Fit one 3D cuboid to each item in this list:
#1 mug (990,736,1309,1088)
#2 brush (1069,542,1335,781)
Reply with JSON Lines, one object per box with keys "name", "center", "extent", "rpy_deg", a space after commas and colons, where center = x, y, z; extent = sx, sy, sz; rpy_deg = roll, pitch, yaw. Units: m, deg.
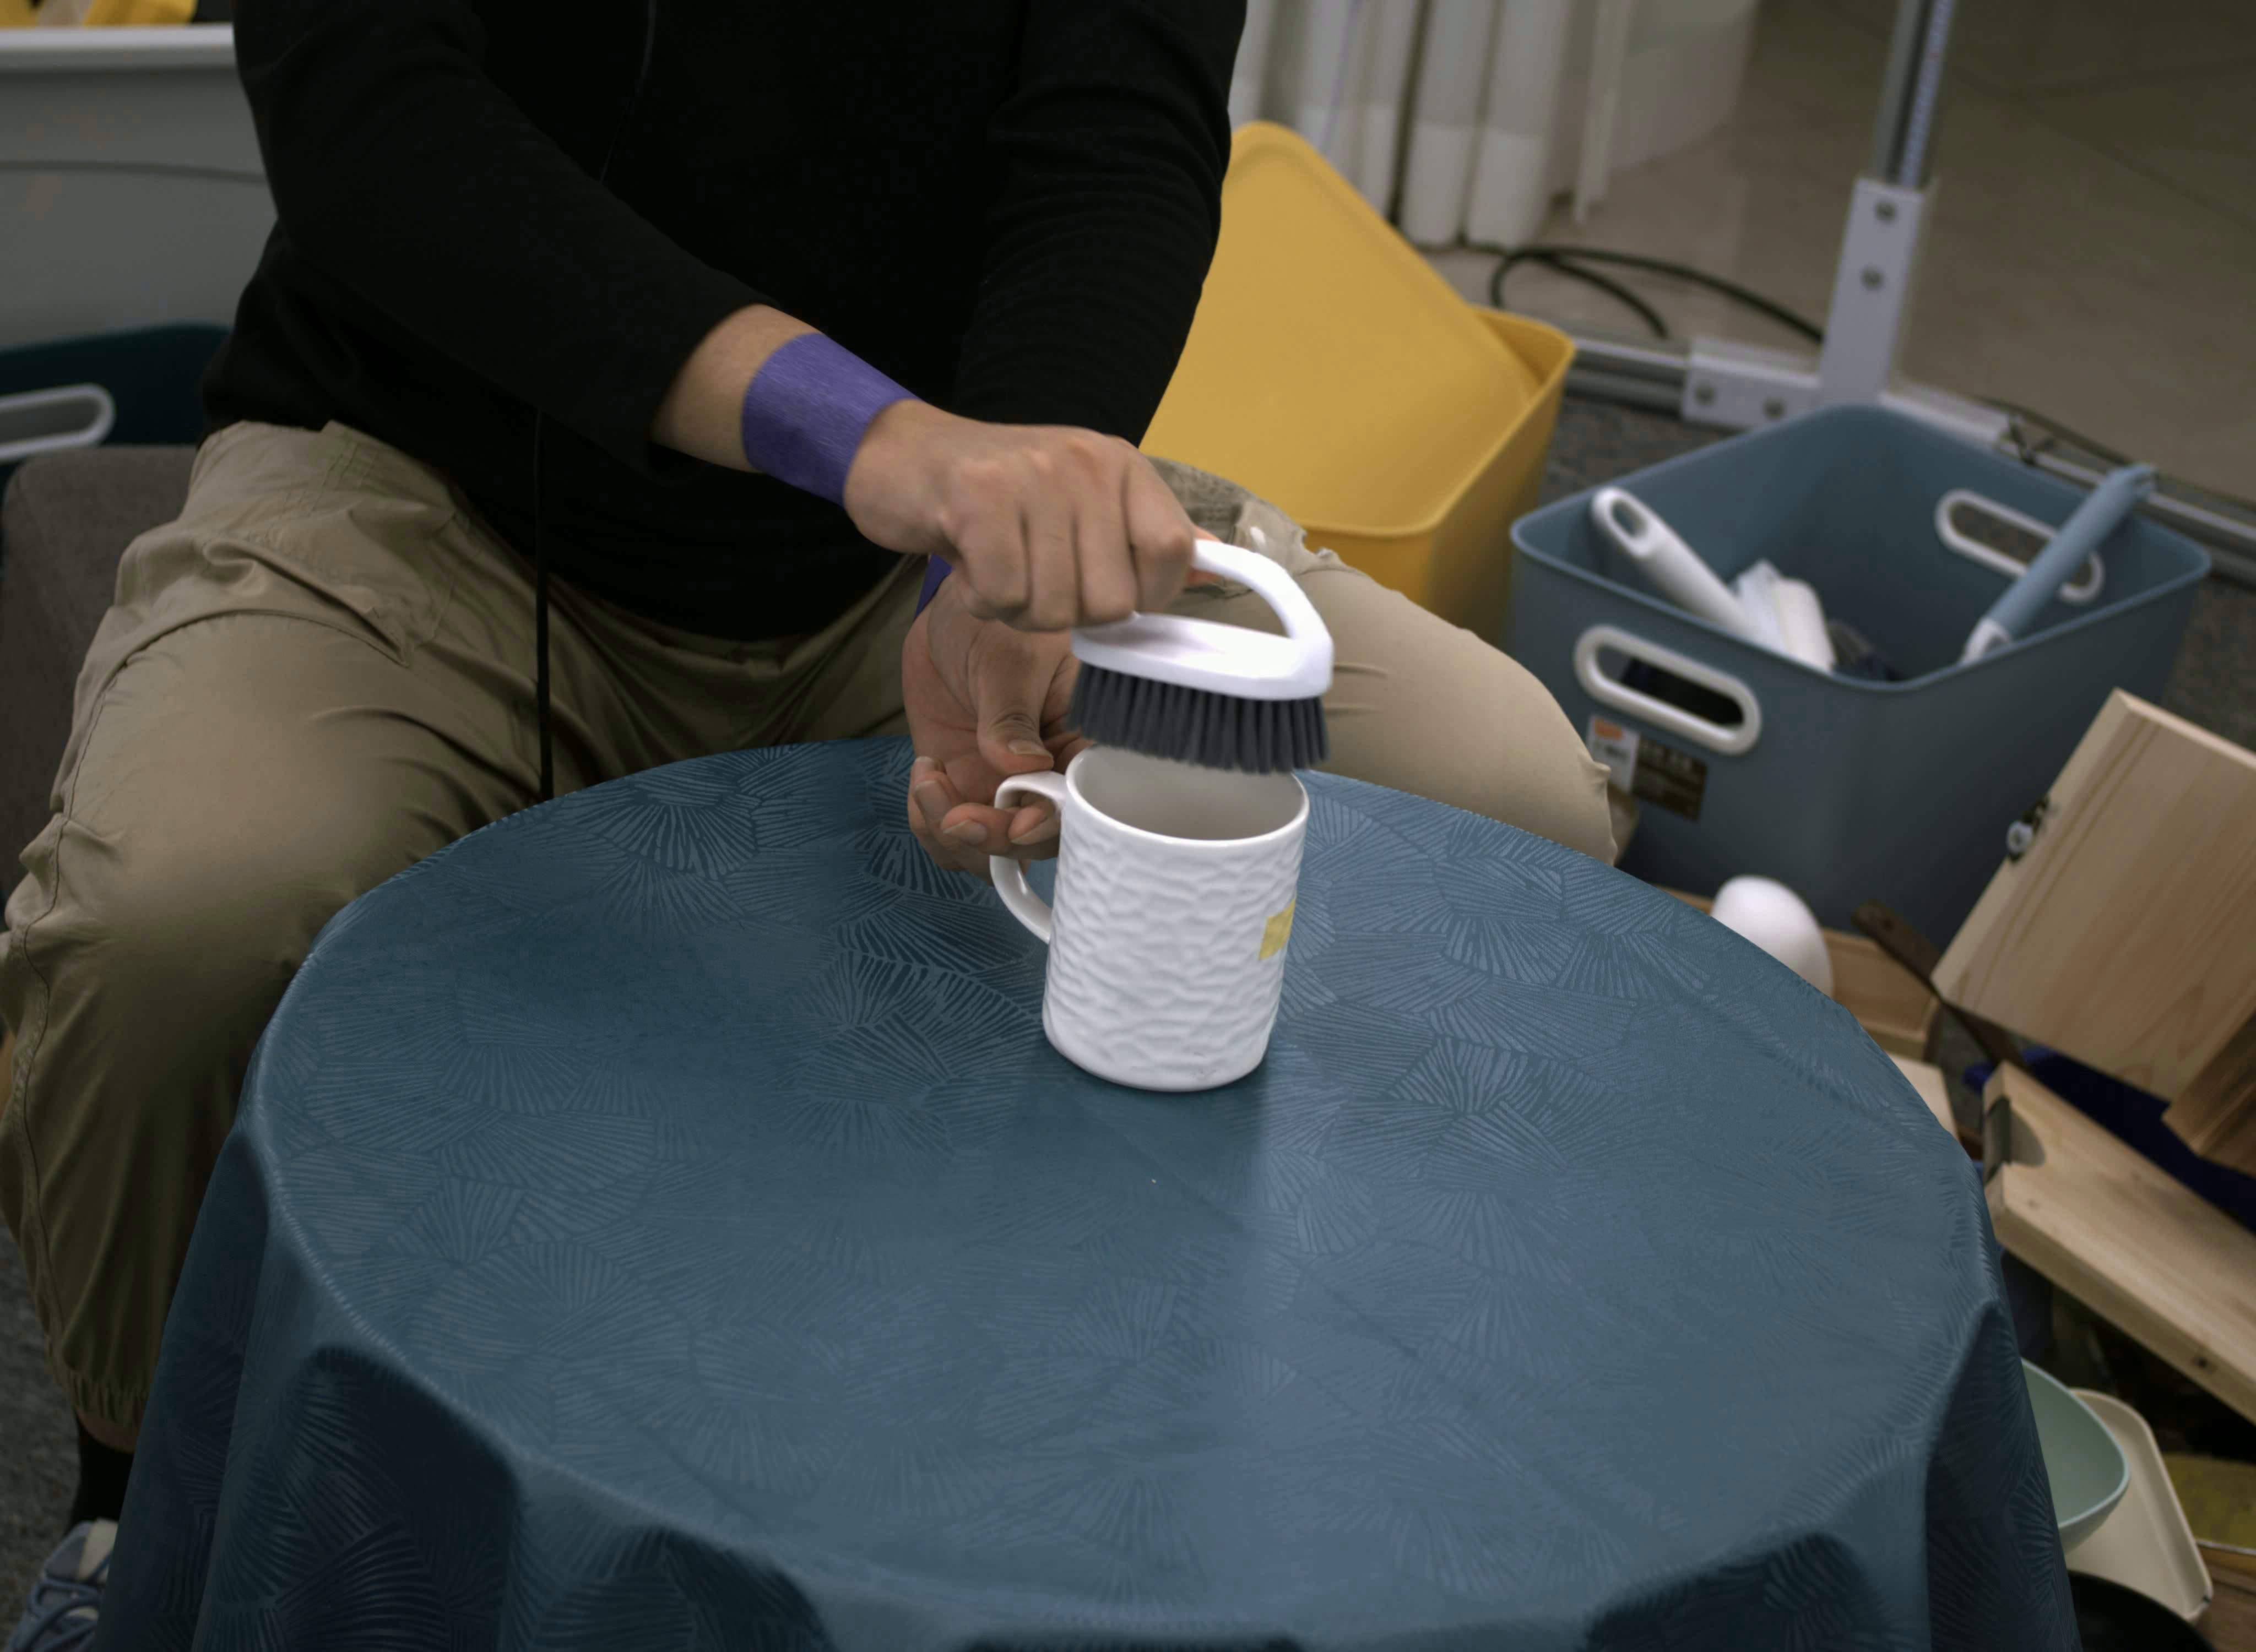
{"name": "mug", "center": [0.002, 0.024, 1.881], "extent": [0.119, 0.101, 0.085], "rpy_deg": [21, 30, 26]}
{"name": "brush", "center": [0.026, -0.062, 1.858], "extent": [0.100, 0.072, 0.050], "rpy_deg": [14, 20, 30]}
